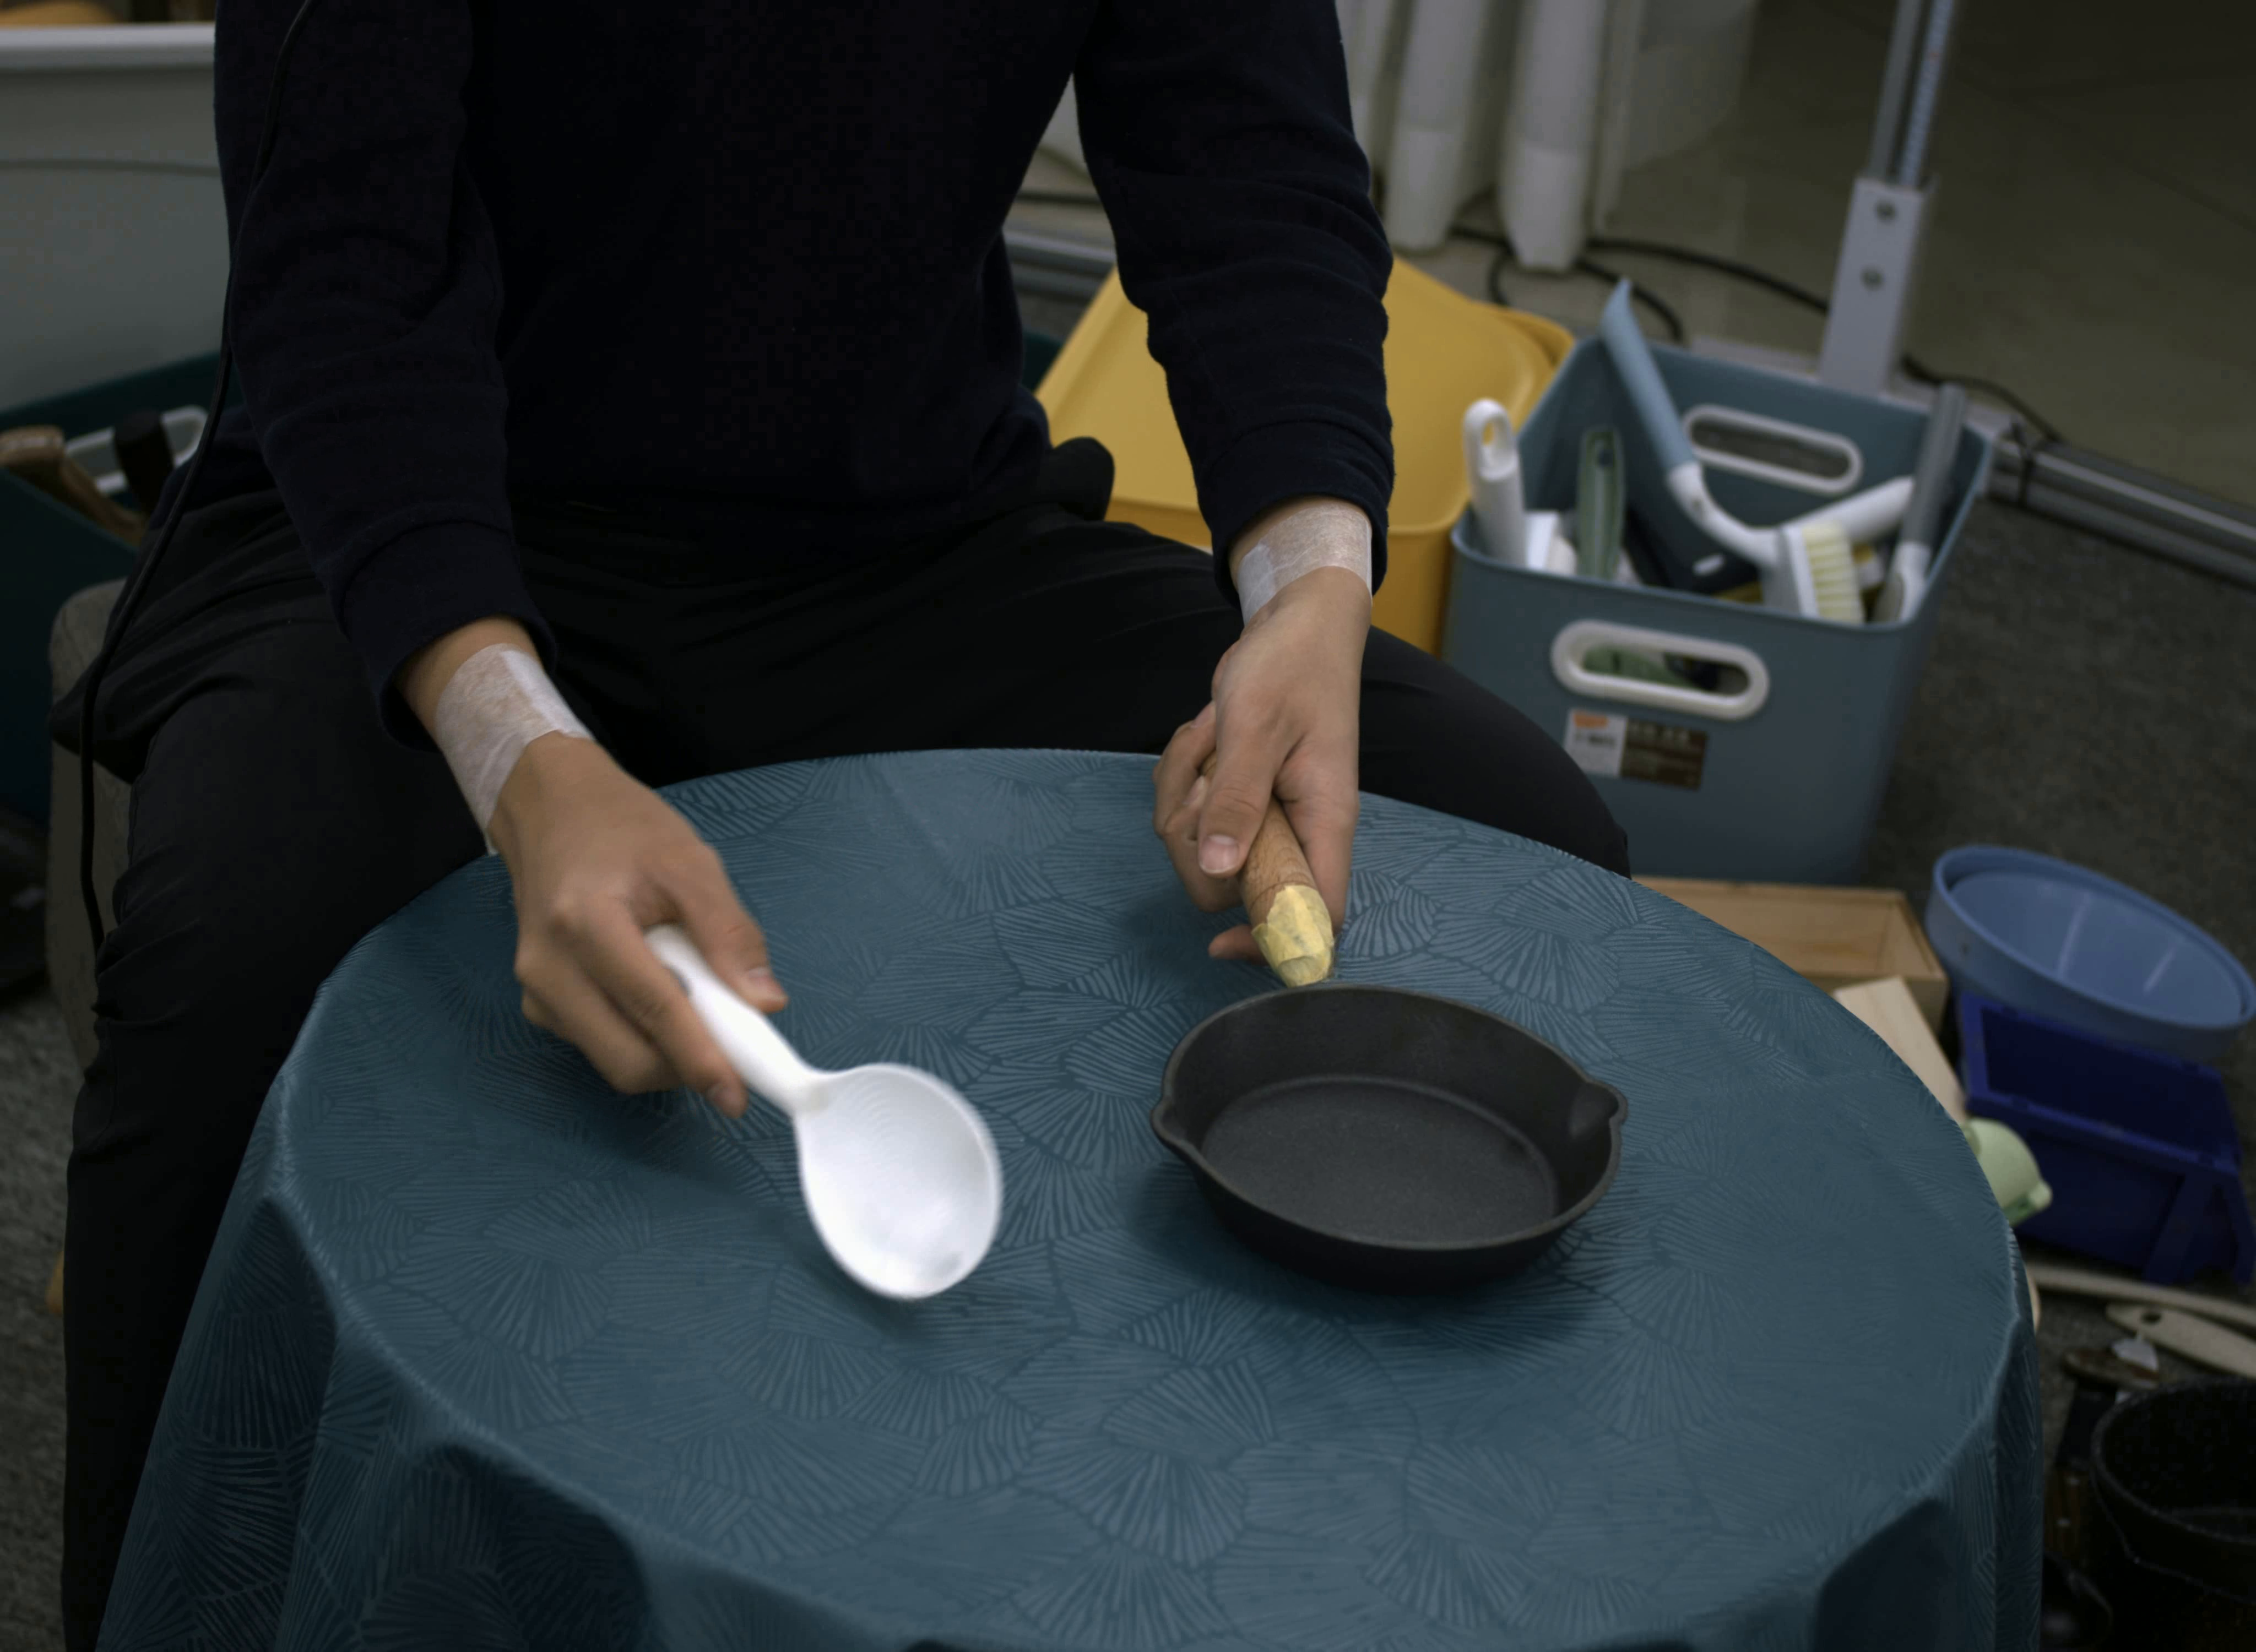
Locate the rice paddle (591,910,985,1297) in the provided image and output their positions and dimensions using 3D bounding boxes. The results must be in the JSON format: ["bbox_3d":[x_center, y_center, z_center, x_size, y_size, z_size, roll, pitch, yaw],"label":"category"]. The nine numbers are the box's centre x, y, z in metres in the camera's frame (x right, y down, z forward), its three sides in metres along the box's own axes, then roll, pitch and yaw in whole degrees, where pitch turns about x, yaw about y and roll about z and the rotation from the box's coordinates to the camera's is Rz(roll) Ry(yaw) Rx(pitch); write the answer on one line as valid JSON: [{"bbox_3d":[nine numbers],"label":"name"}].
[{"bbox_3d":[-0.112,0.088,1.756,0.029,0.069,0.207,15,16,-46],"label":"rice paddle"}]

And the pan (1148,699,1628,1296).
[{"bbox_3d":[0.070,0.058,1.871,0.168,0.049,0.327,-1,33,-14],"label":"pan"}]
